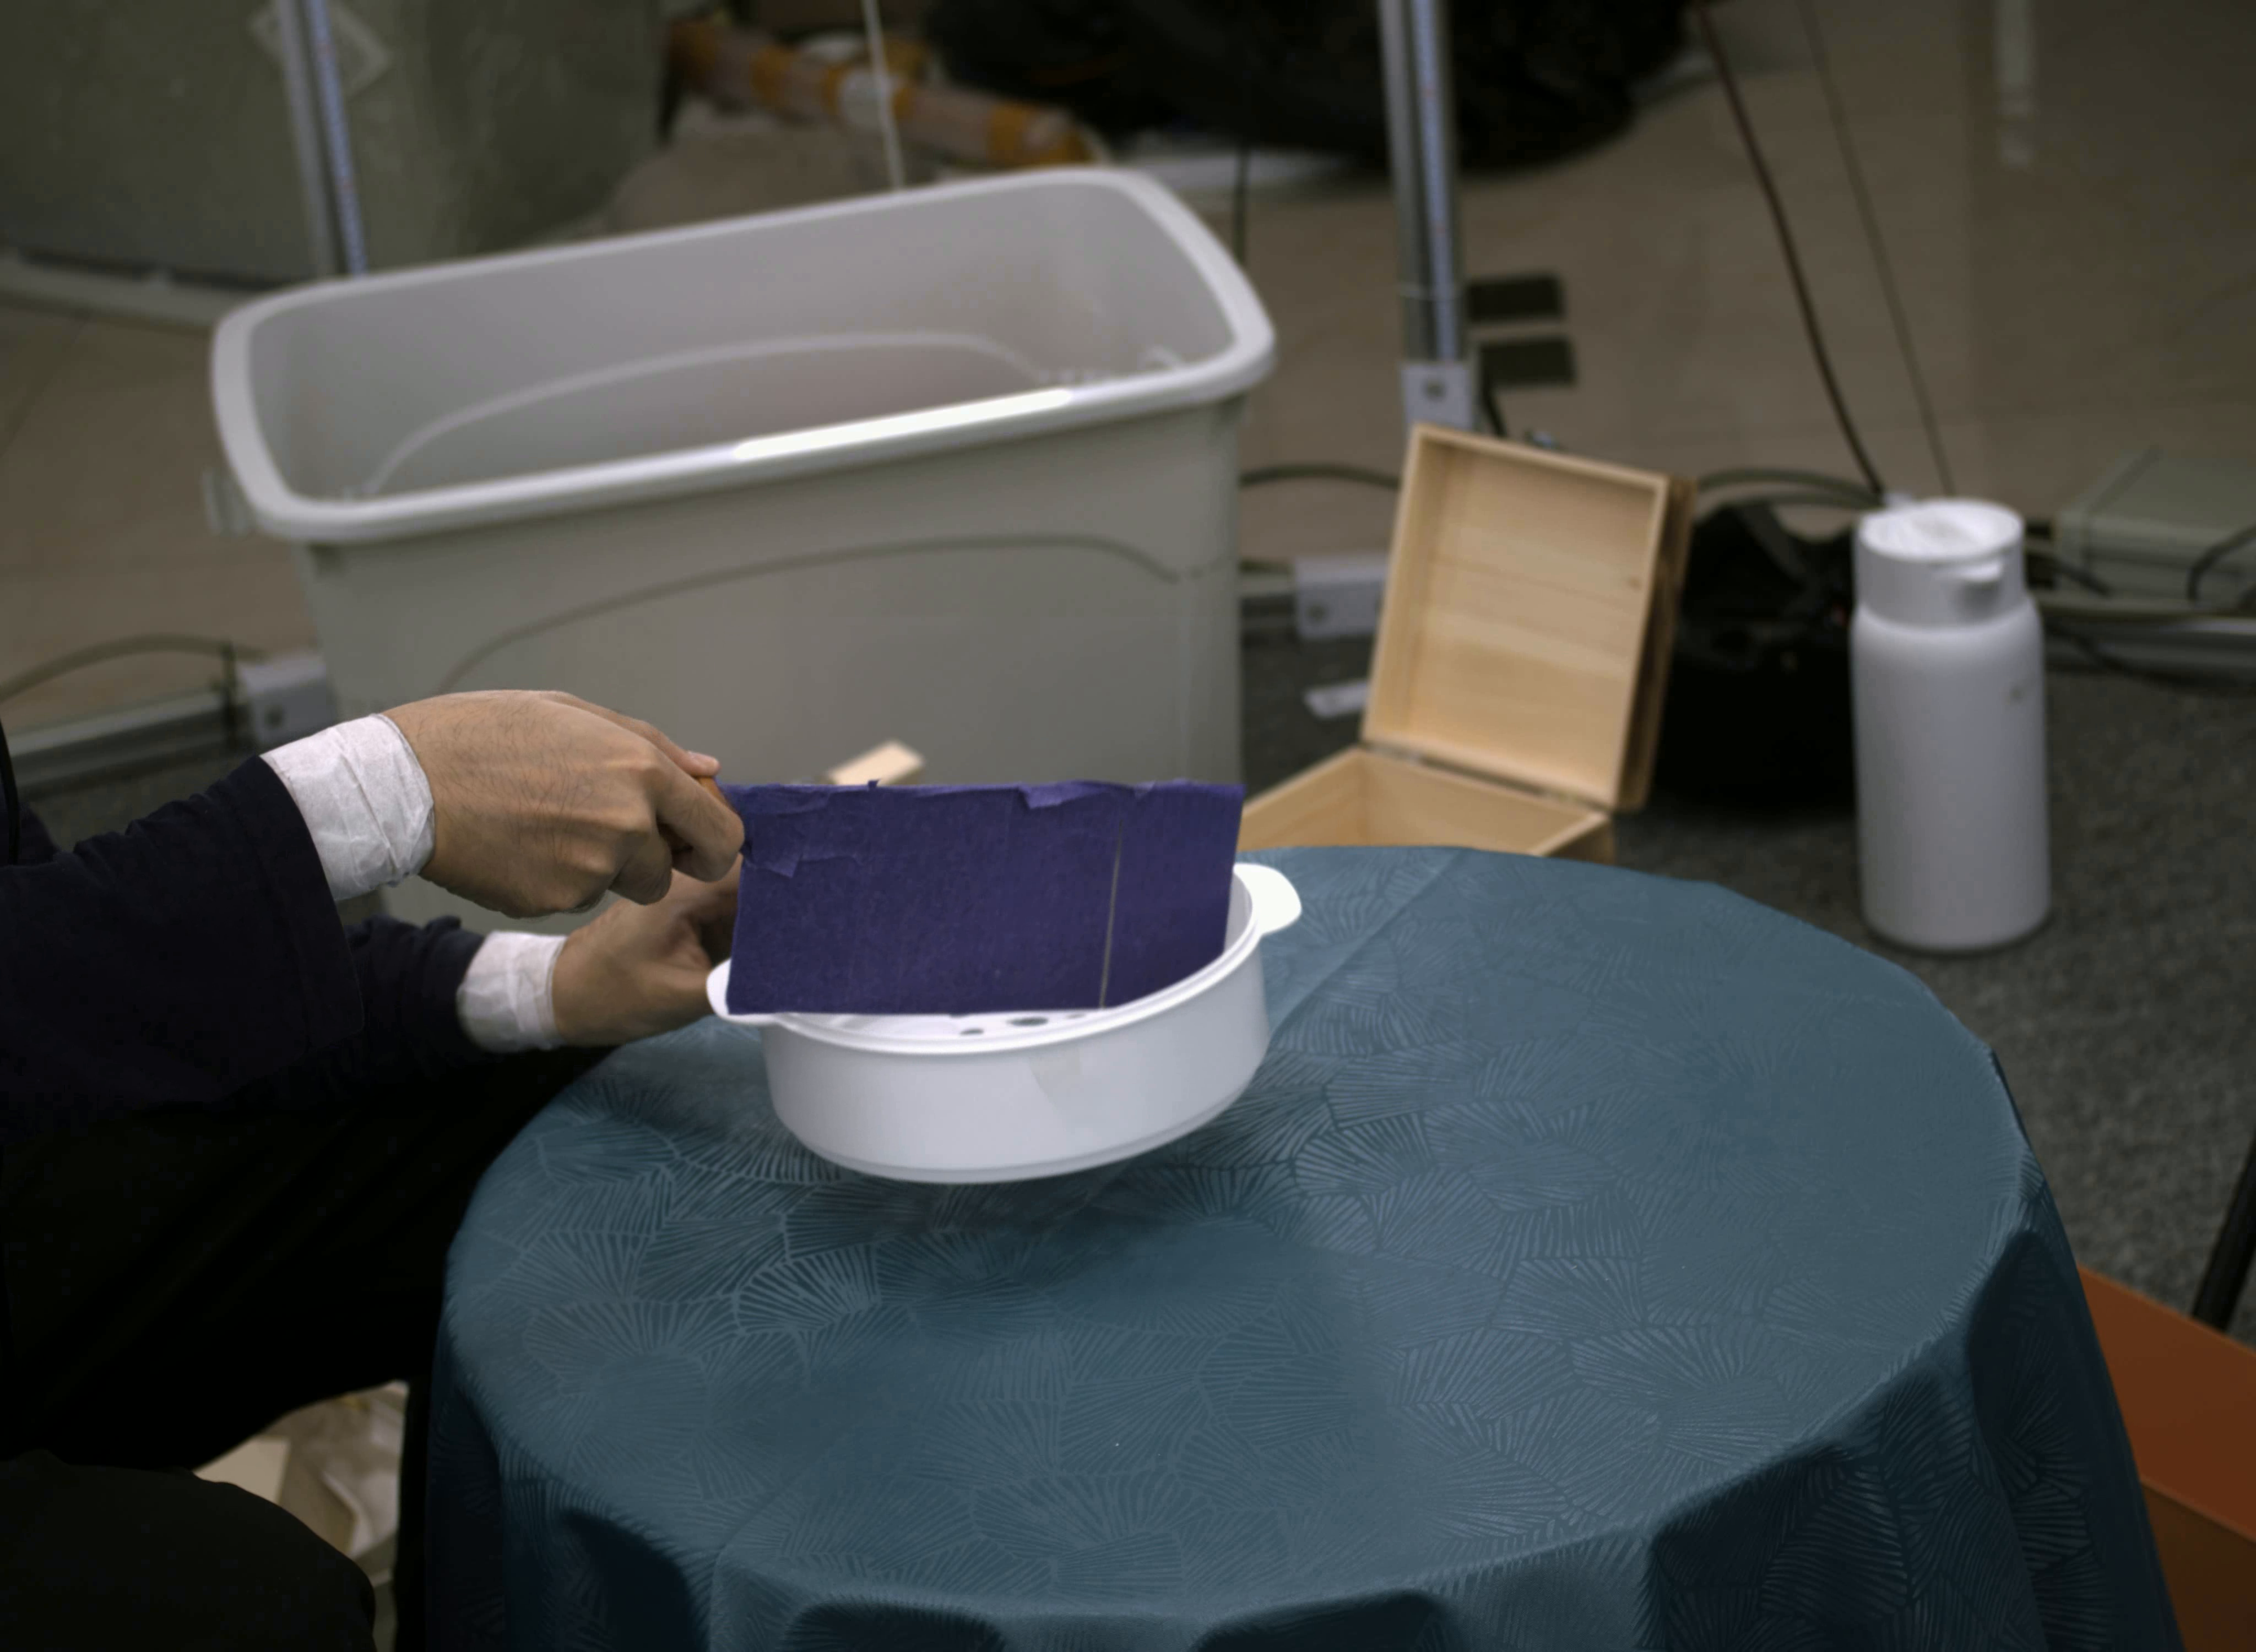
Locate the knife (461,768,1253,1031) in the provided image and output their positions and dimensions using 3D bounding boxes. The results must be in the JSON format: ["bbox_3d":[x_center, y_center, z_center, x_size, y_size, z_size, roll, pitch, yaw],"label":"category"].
[{"bbox_3d":[-0.097,0.028,2.101,0.315,0.105,0.032,0,17,-25],"label":"knife"}]

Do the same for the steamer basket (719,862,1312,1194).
[{"bbox_3d":[-0.039,0.073,2.174,0.230,0.070,0.199,-13,22,-6],"label":"steamer basket"}]
